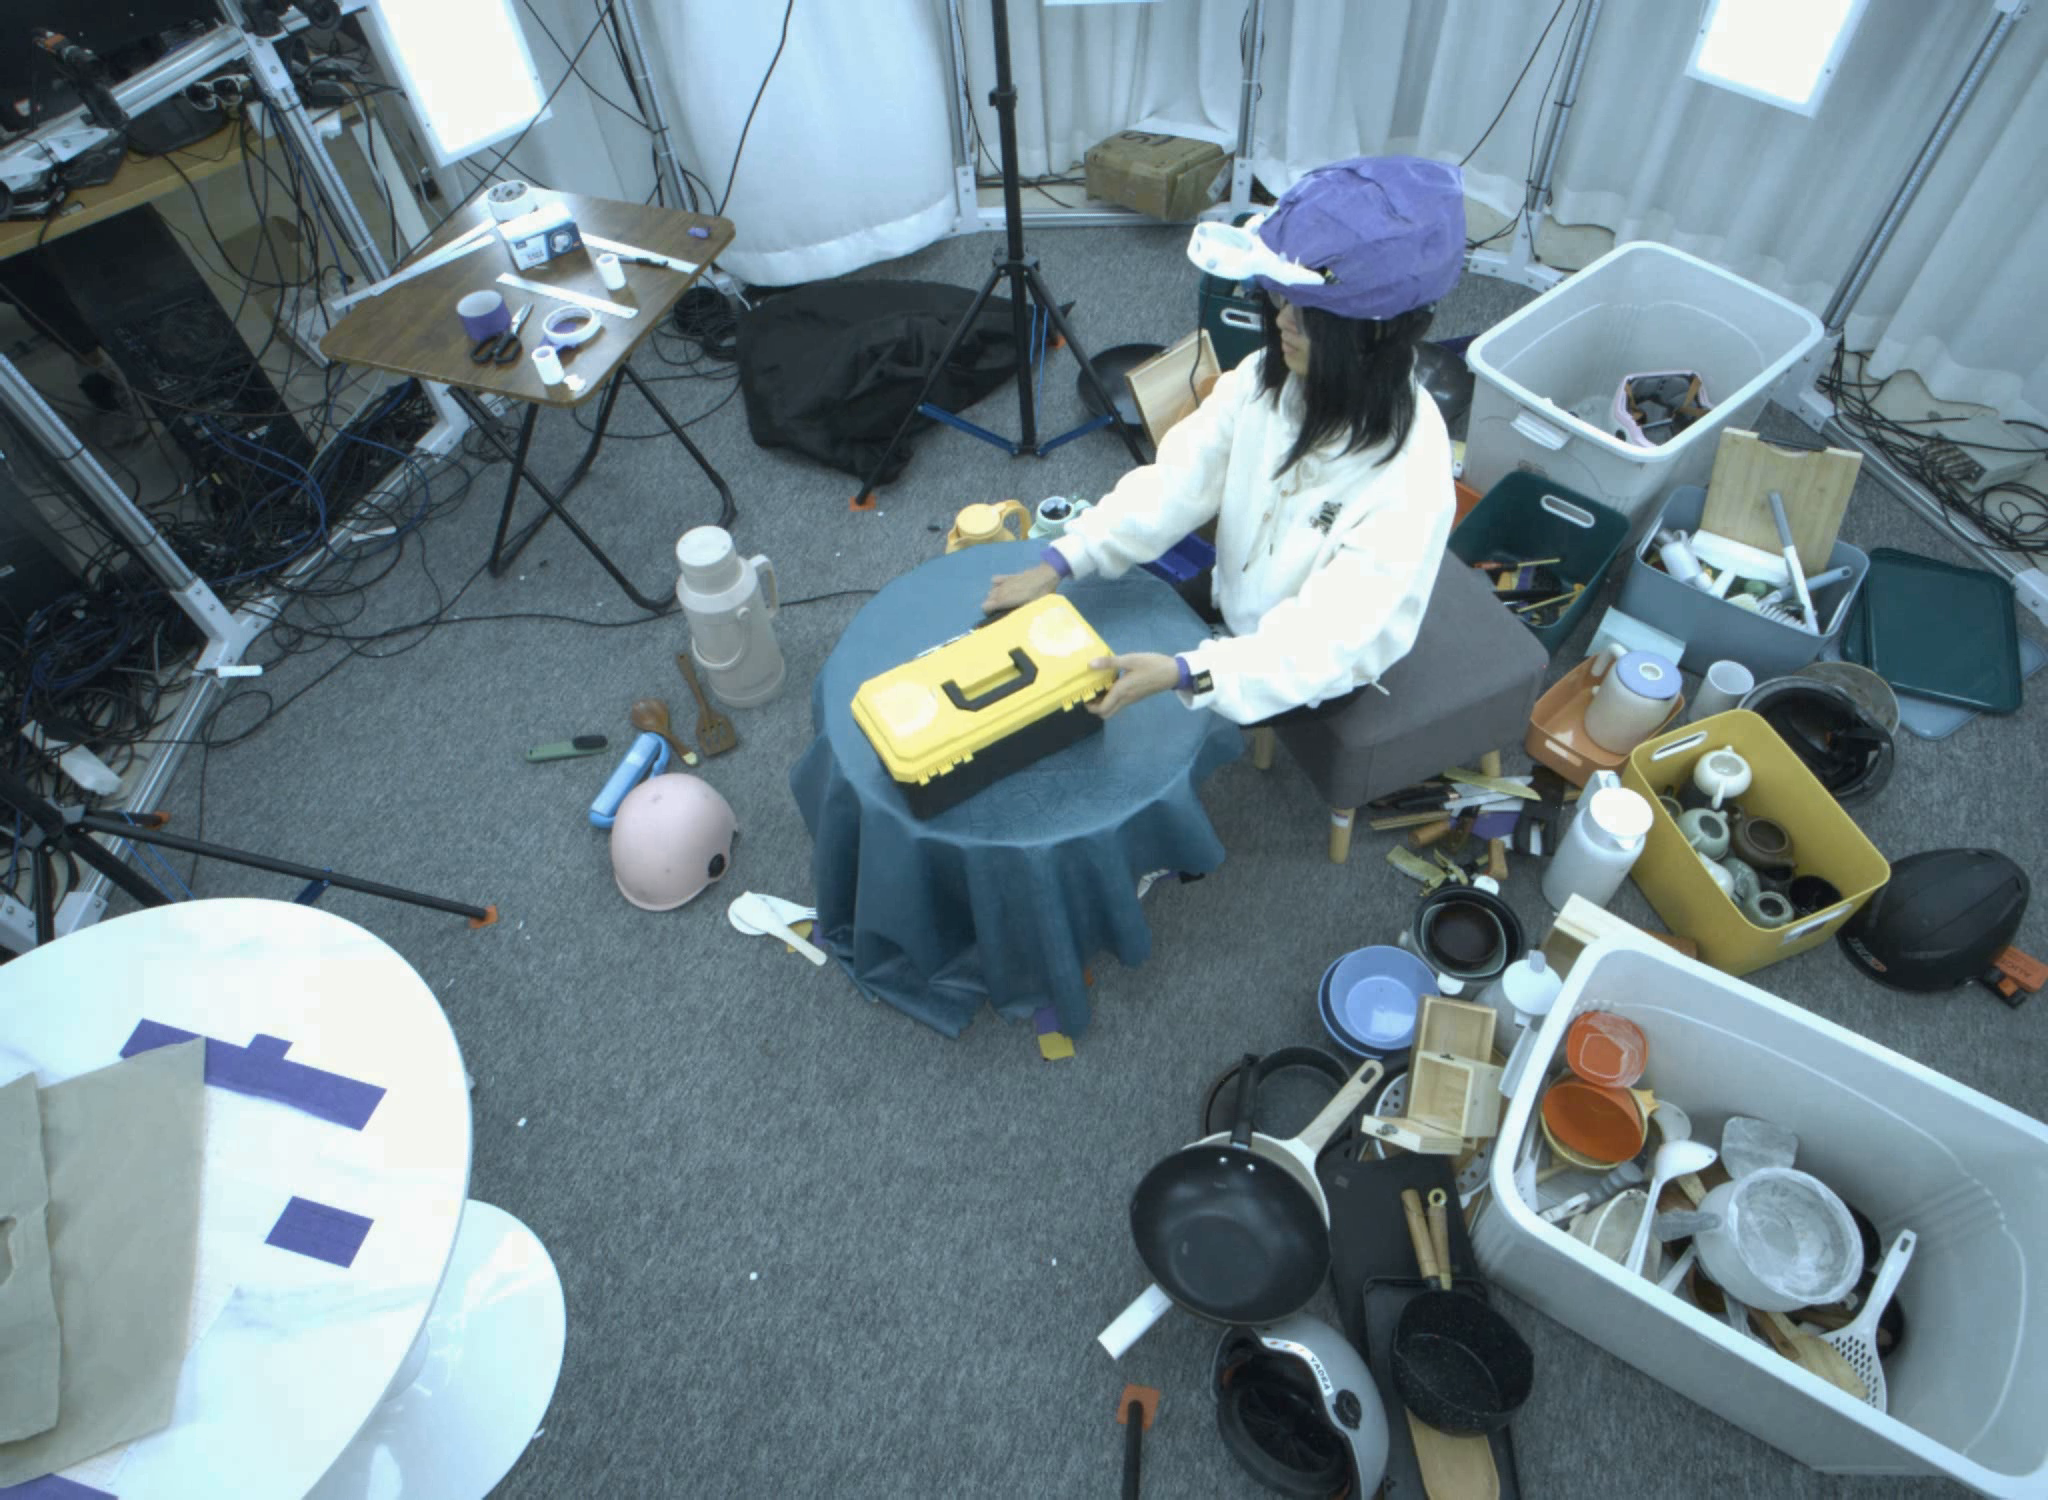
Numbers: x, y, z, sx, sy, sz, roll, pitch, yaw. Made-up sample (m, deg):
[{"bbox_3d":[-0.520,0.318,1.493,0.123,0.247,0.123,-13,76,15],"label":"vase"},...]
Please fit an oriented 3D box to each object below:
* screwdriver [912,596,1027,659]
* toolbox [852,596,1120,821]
[{"bbox_3d":[-0.087,-0.189,1.896,0.197,0.032,0.031,-24,57,-5],"label":"screwdriver"},{"bbox_3d":[-0.049,-0.058,1.723,0.354,0.175,0.178,-27,57,-16],"label":"toolbox"}]
